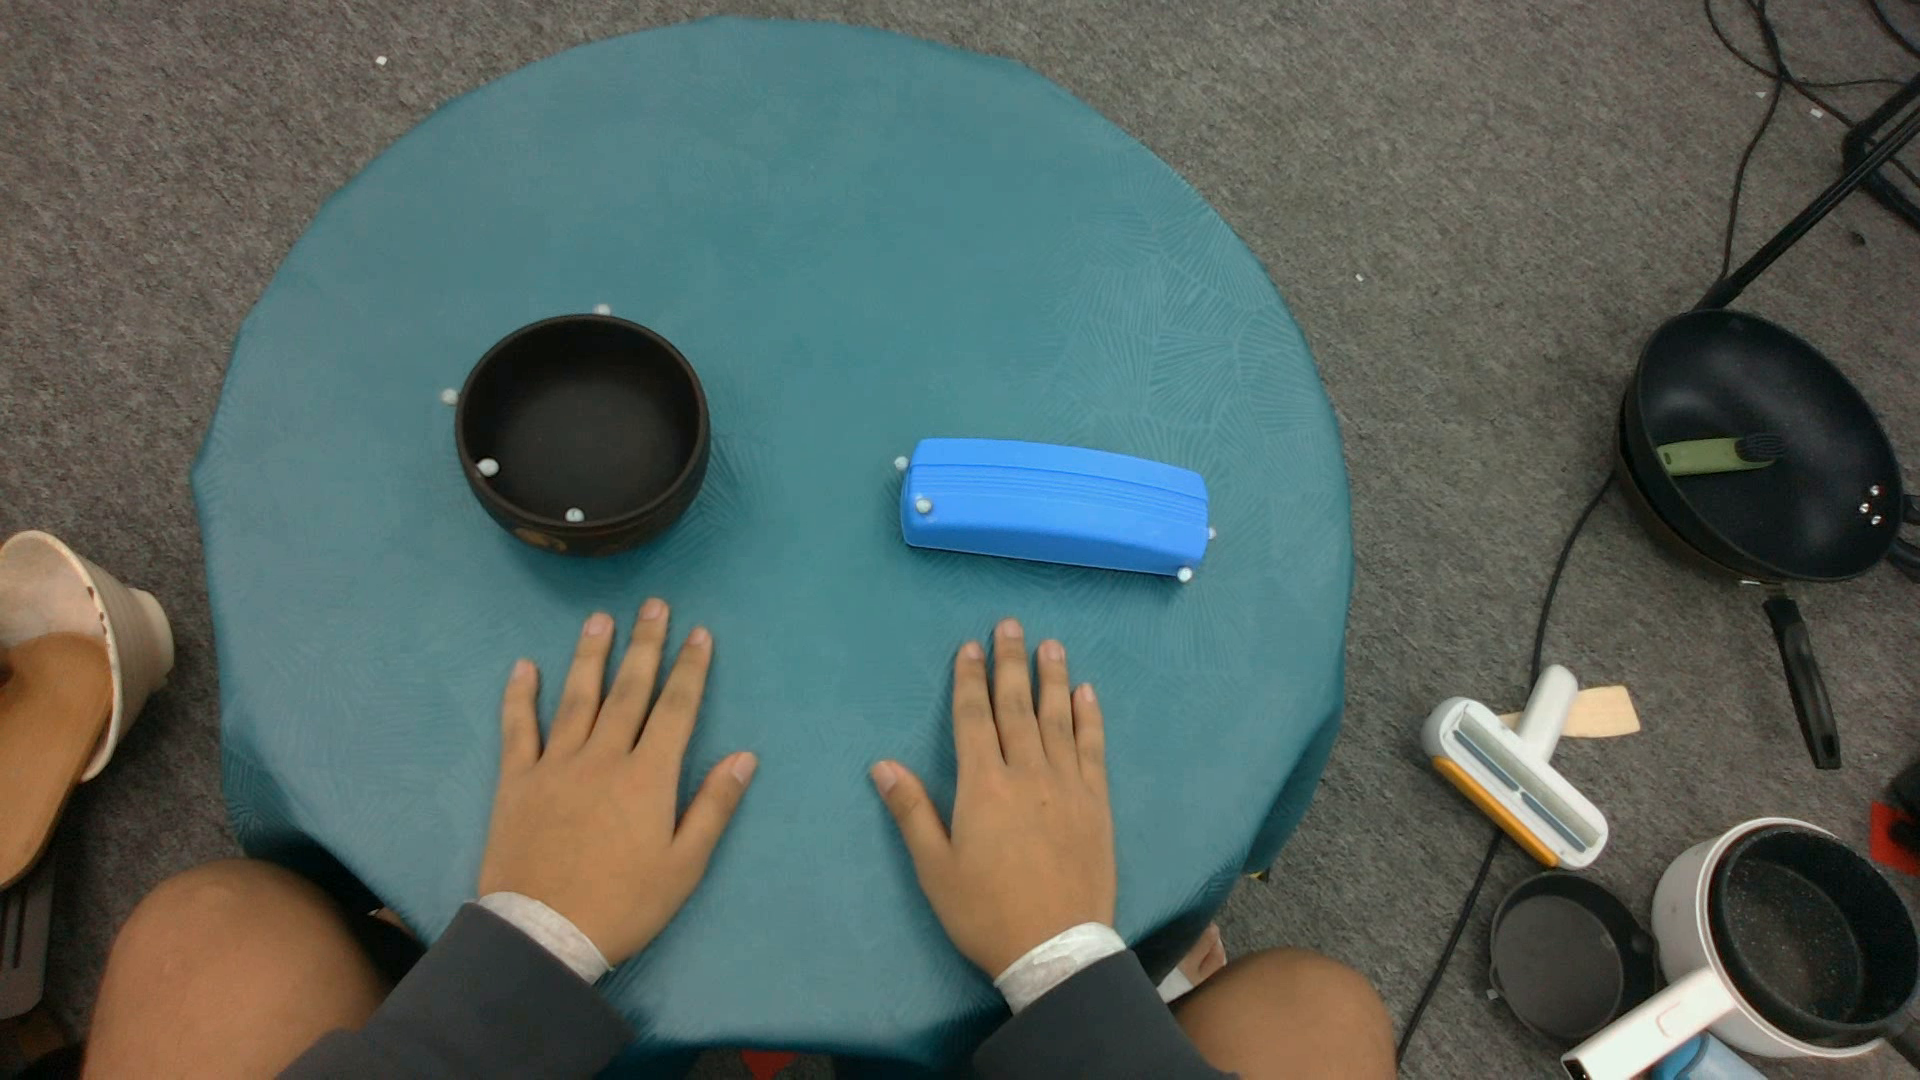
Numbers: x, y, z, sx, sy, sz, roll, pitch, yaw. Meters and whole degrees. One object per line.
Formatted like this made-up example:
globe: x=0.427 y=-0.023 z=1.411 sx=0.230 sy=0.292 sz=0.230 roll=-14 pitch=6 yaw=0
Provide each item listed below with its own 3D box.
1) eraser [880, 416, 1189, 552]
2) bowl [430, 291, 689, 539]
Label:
eraser: x=0.040 y=-0.031 z=0.717 sx=0.162 sy=0.047 sz=0.054 roll=5 pitch=65 yaw=-8
bowl: x=-0.191 y=-0.054 z=0.669 sx=0.118 sy=0.069 sz=0.118 roll=4 pitch=67 yaw=-9
